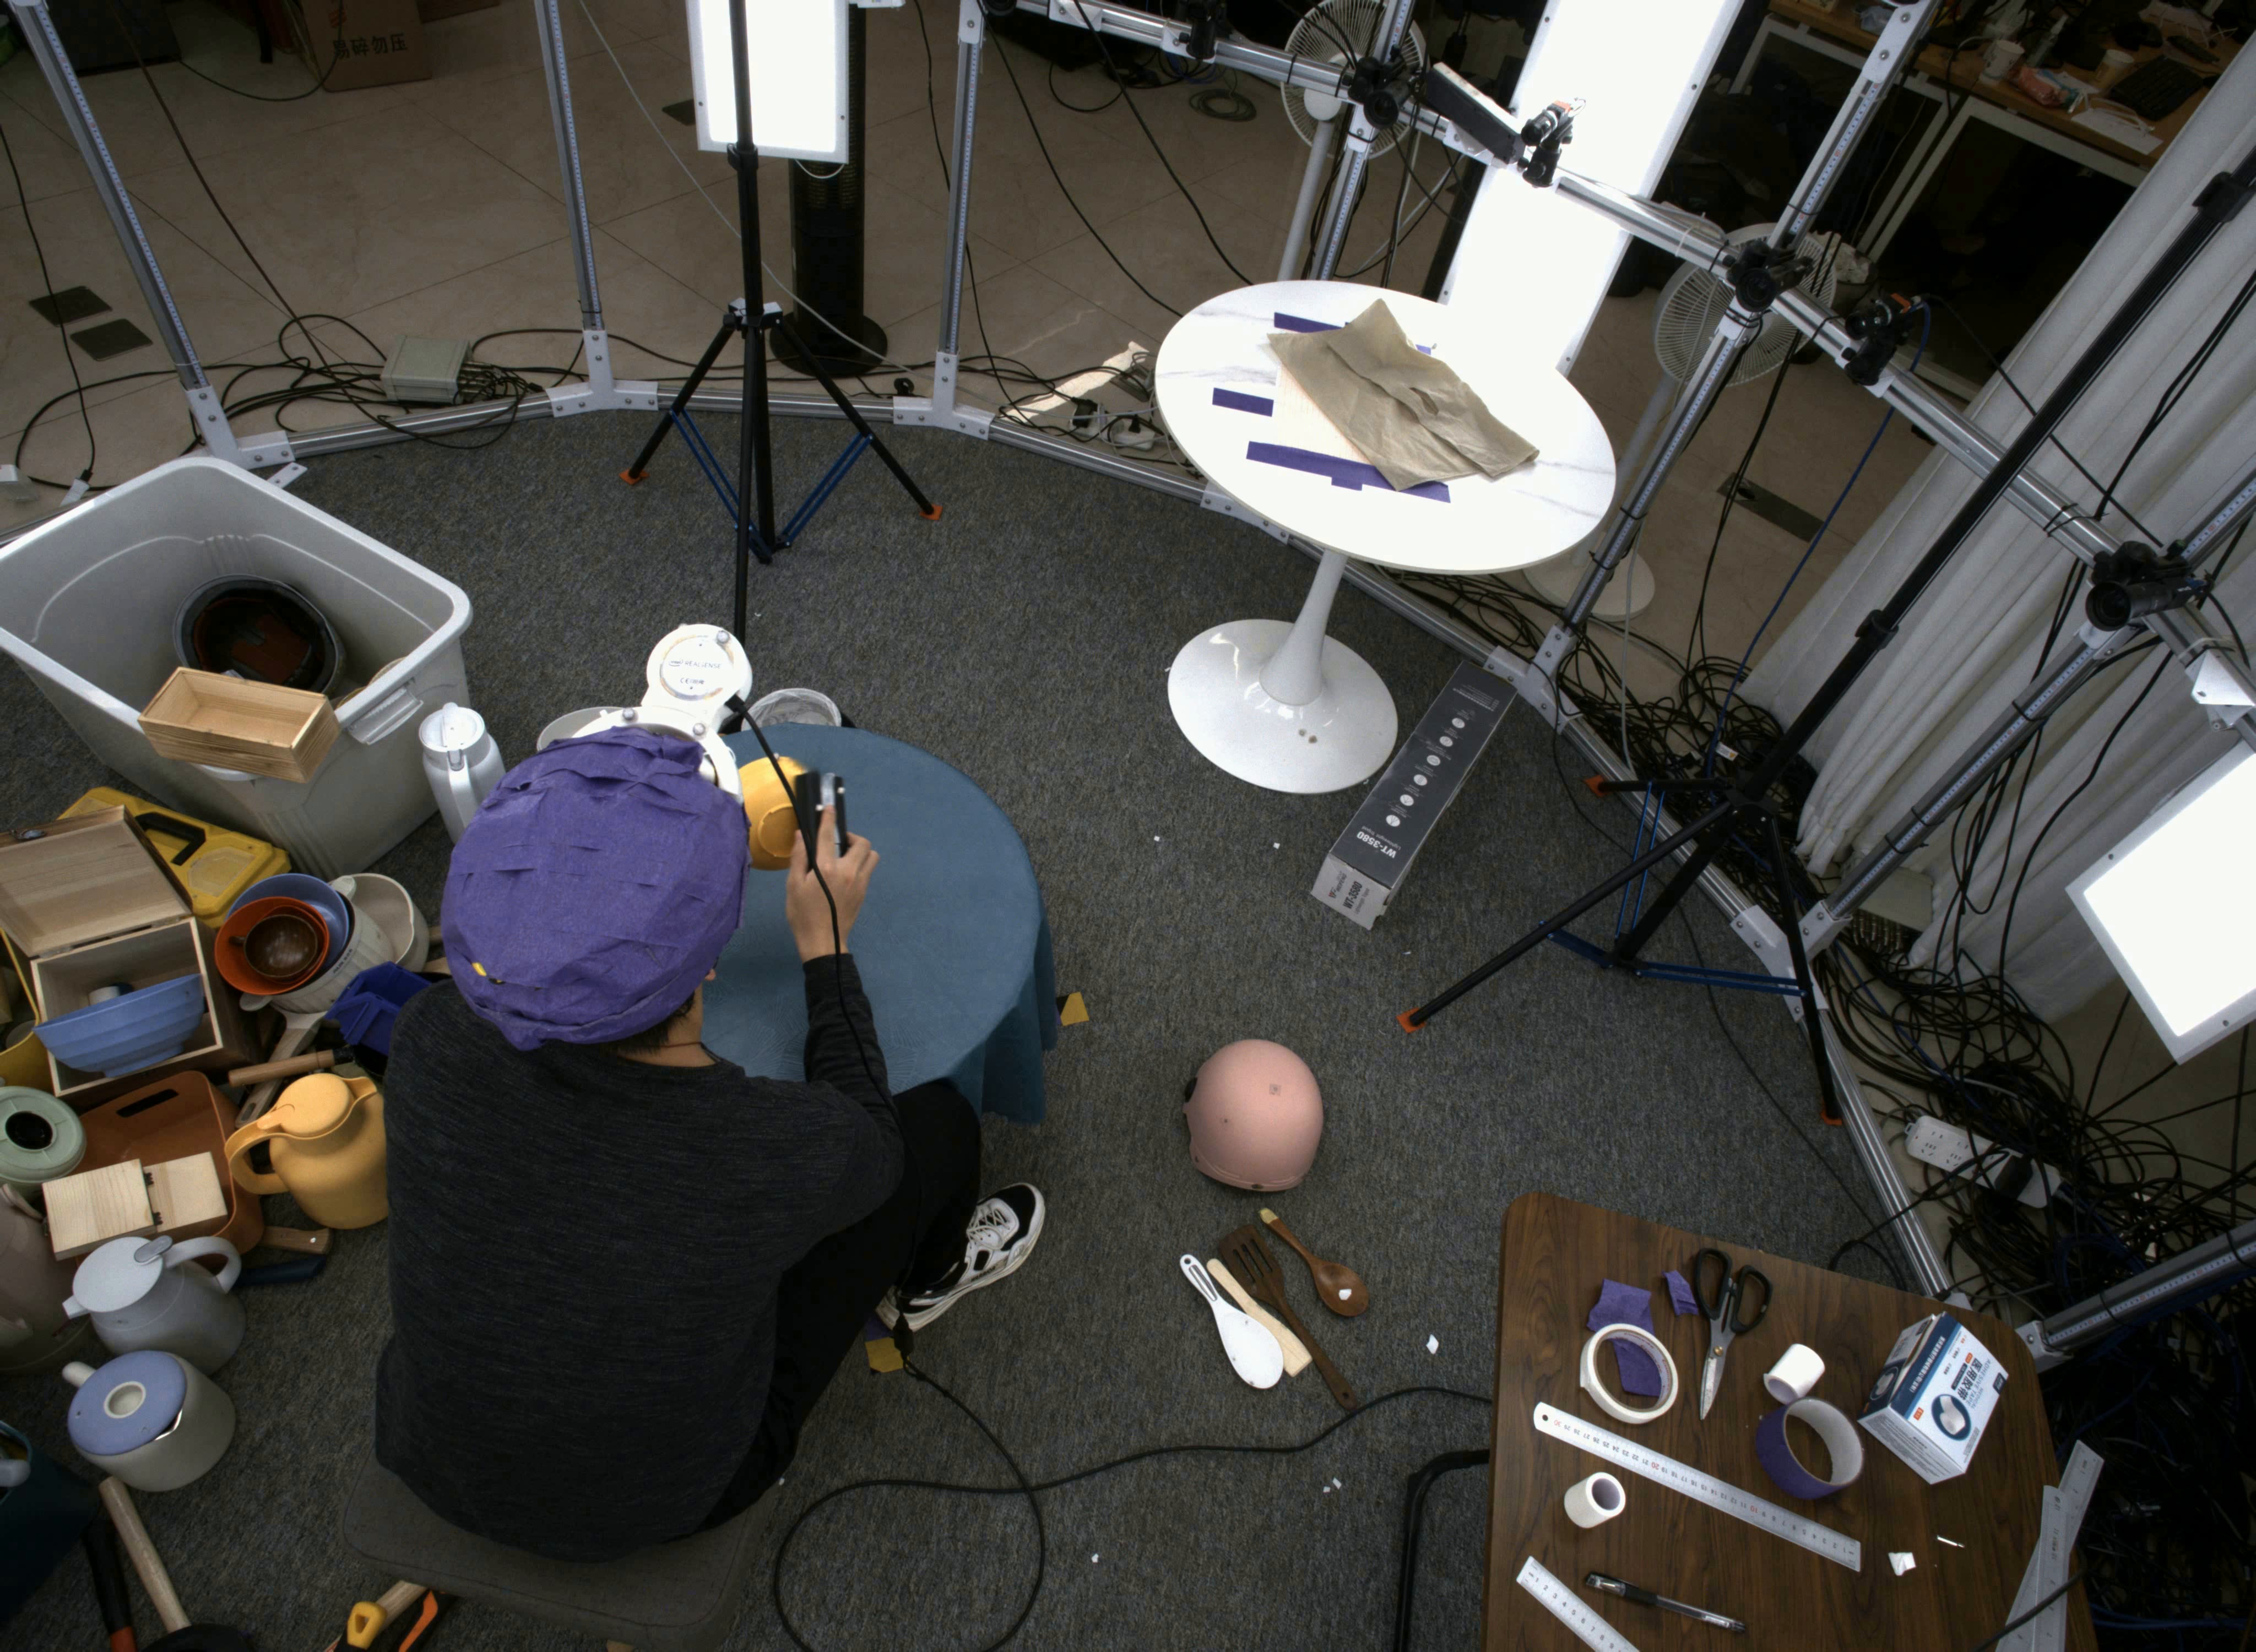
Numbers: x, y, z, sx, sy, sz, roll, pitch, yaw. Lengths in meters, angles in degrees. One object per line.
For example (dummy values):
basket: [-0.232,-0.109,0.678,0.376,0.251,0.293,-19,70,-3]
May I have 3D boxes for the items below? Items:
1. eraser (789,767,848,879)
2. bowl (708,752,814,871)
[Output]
eraser: [-0.354,-0.004,1.476,0.055,0.030,0.125,3,74,-47]
bowl: [-0.409,-0.009,1.502,0.146,0.150,0.058,-17,30,-25]
